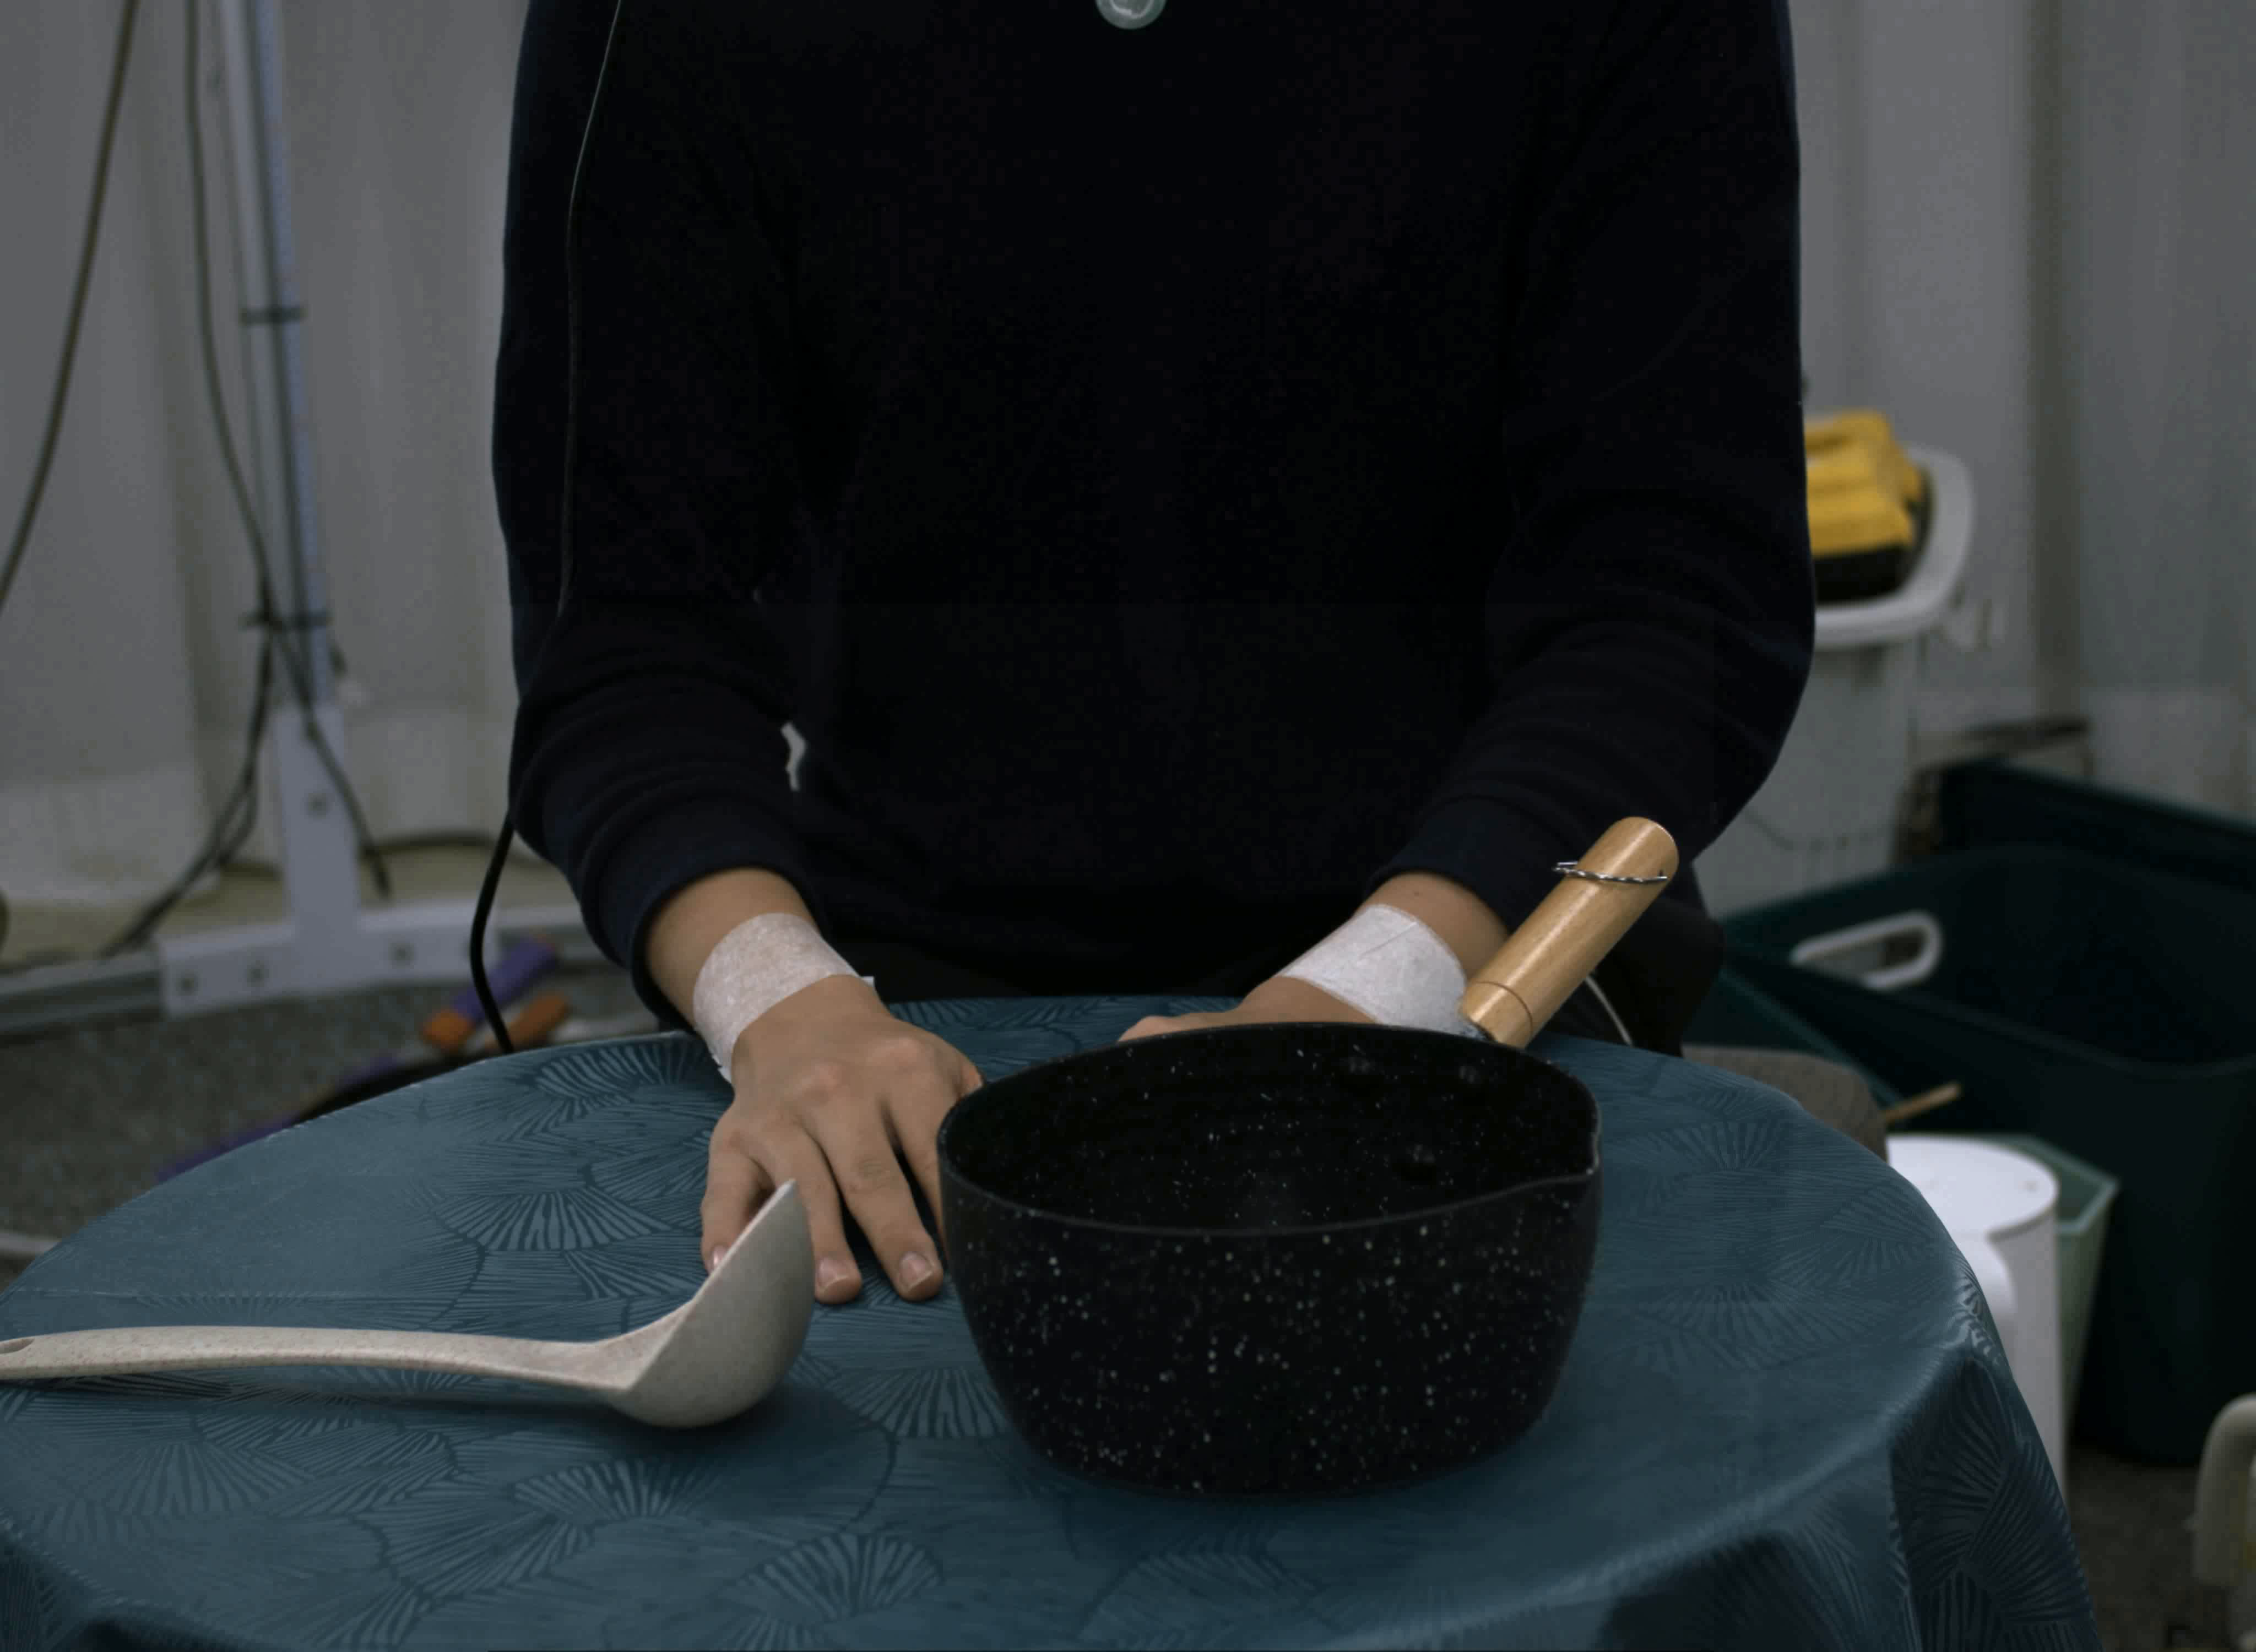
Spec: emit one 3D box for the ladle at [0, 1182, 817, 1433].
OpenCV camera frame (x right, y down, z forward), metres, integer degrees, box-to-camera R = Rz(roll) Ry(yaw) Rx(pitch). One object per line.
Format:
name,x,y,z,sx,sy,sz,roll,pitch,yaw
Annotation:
ladle,-0.221,0.133,1.564,0.275,0.069,0.090,1,22,16

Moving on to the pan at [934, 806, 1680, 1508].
pan,0.079,0.090,1.583,0.208,0.108,0.343,4,18,29
